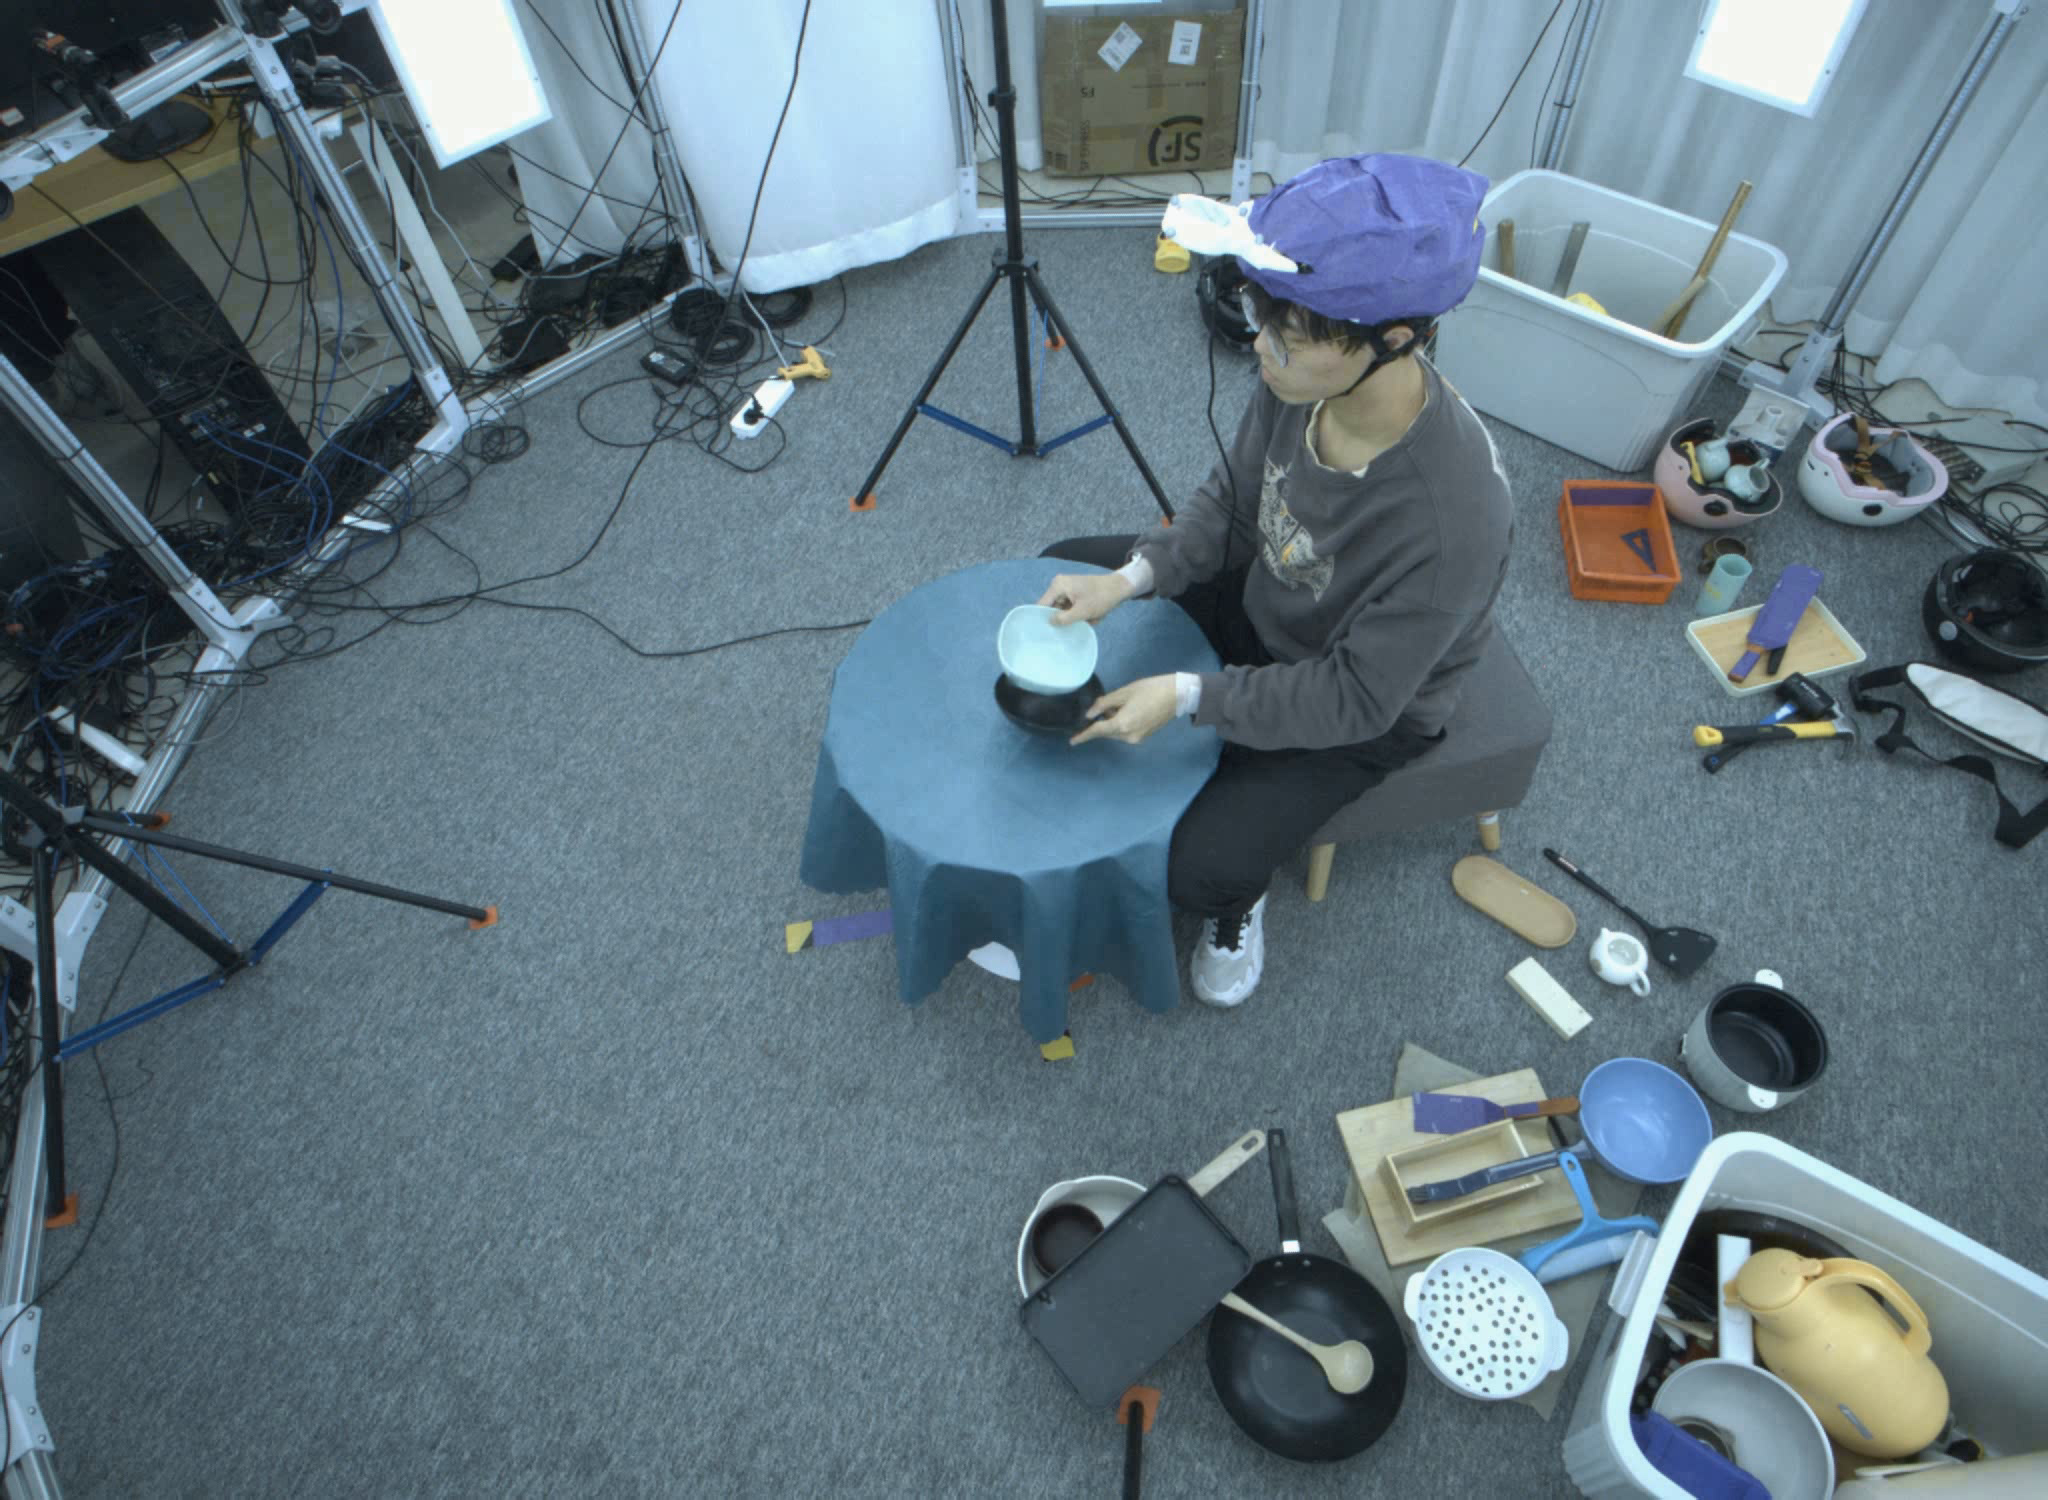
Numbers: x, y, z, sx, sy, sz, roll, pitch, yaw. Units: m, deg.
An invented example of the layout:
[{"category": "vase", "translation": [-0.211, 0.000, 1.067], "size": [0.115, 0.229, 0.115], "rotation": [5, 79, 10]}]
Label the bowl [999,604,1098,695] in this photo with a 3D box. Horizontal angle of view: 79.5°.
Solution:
[{"category": "bowl", "translation": [0.029, -0.129, 1.711], "size": [0.153, 0.058, 0.150], "rotation": [7, 59, -11]}]

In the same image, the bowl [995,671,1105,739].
[{"category": "bowl", "translation": [0.037, -0.064, 1.766], "size": [0.167, 0.067, 0.138], "rotation": [23, 56, 22]}]
